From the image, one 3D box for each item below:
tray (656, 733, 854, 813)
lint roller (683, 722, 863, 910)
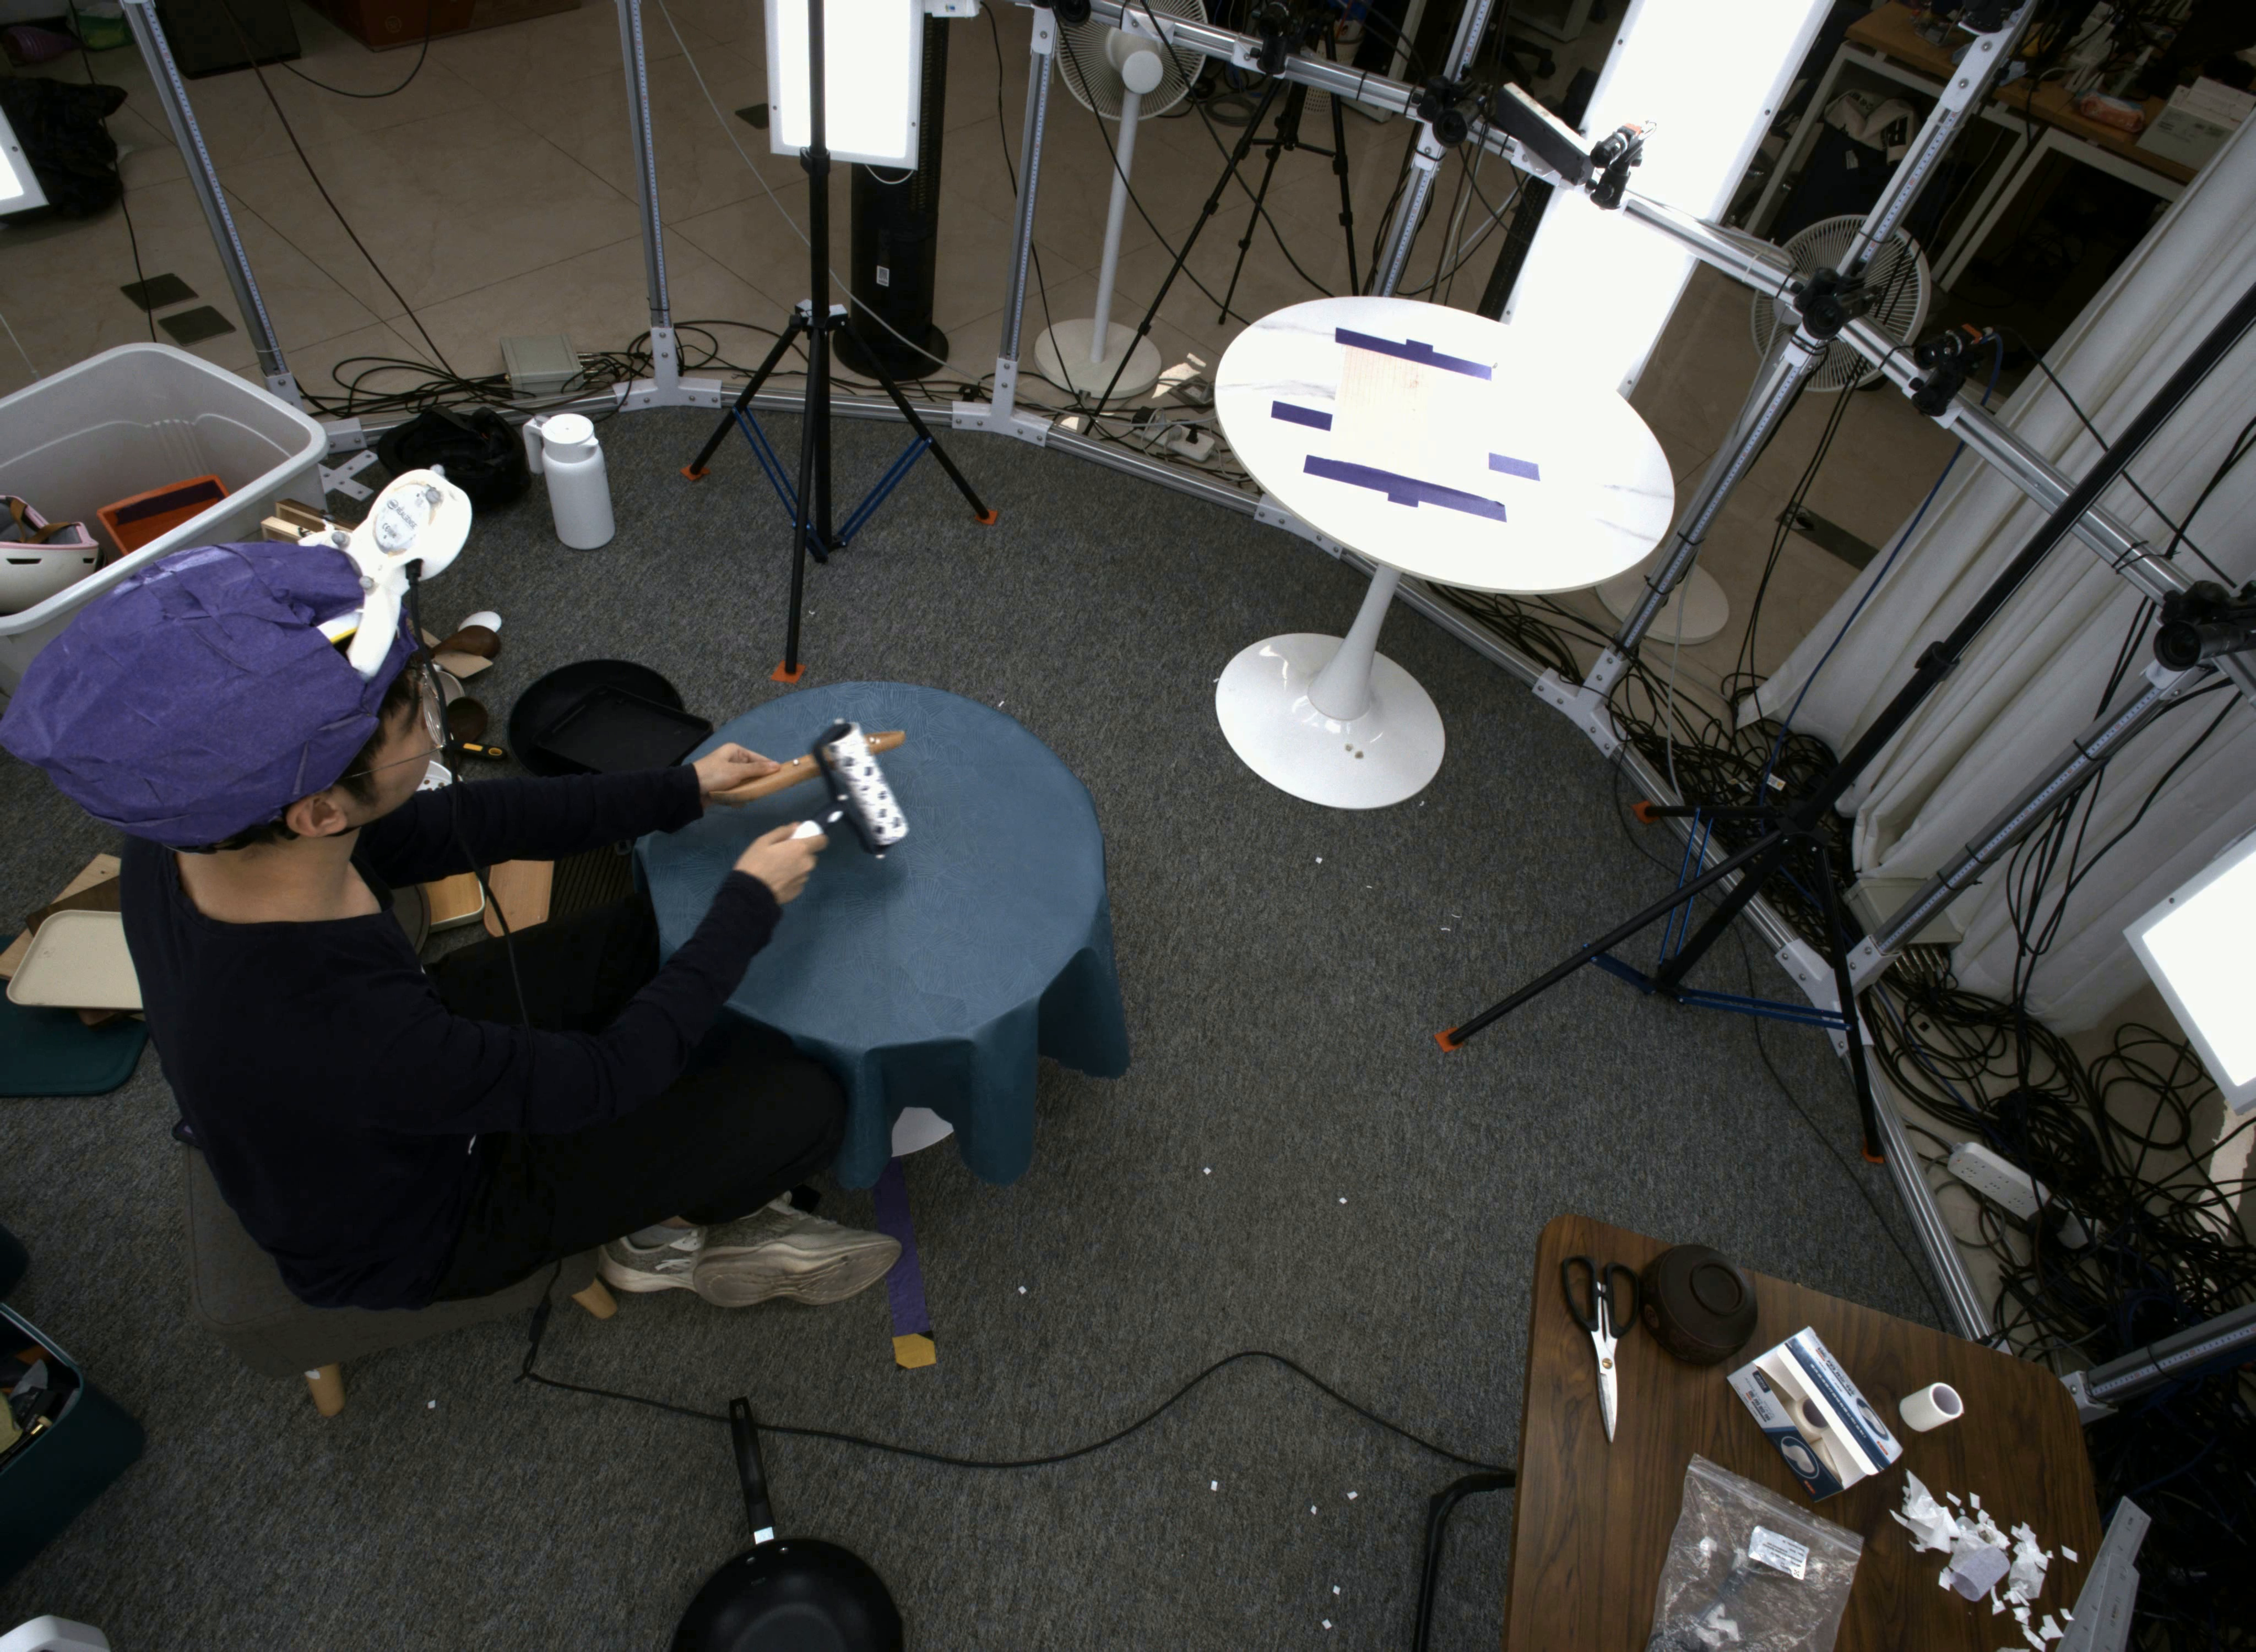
[{"bbox_3d":[-0.472,-0.069,1.644,0.252,0.126,0.023,-28,105,-37],"label":"tray"},{"bbox_3d":[-0.438,0.015,1.565,0.048,0.183,0.246,11,47,36],"label":"lint roller"}]
